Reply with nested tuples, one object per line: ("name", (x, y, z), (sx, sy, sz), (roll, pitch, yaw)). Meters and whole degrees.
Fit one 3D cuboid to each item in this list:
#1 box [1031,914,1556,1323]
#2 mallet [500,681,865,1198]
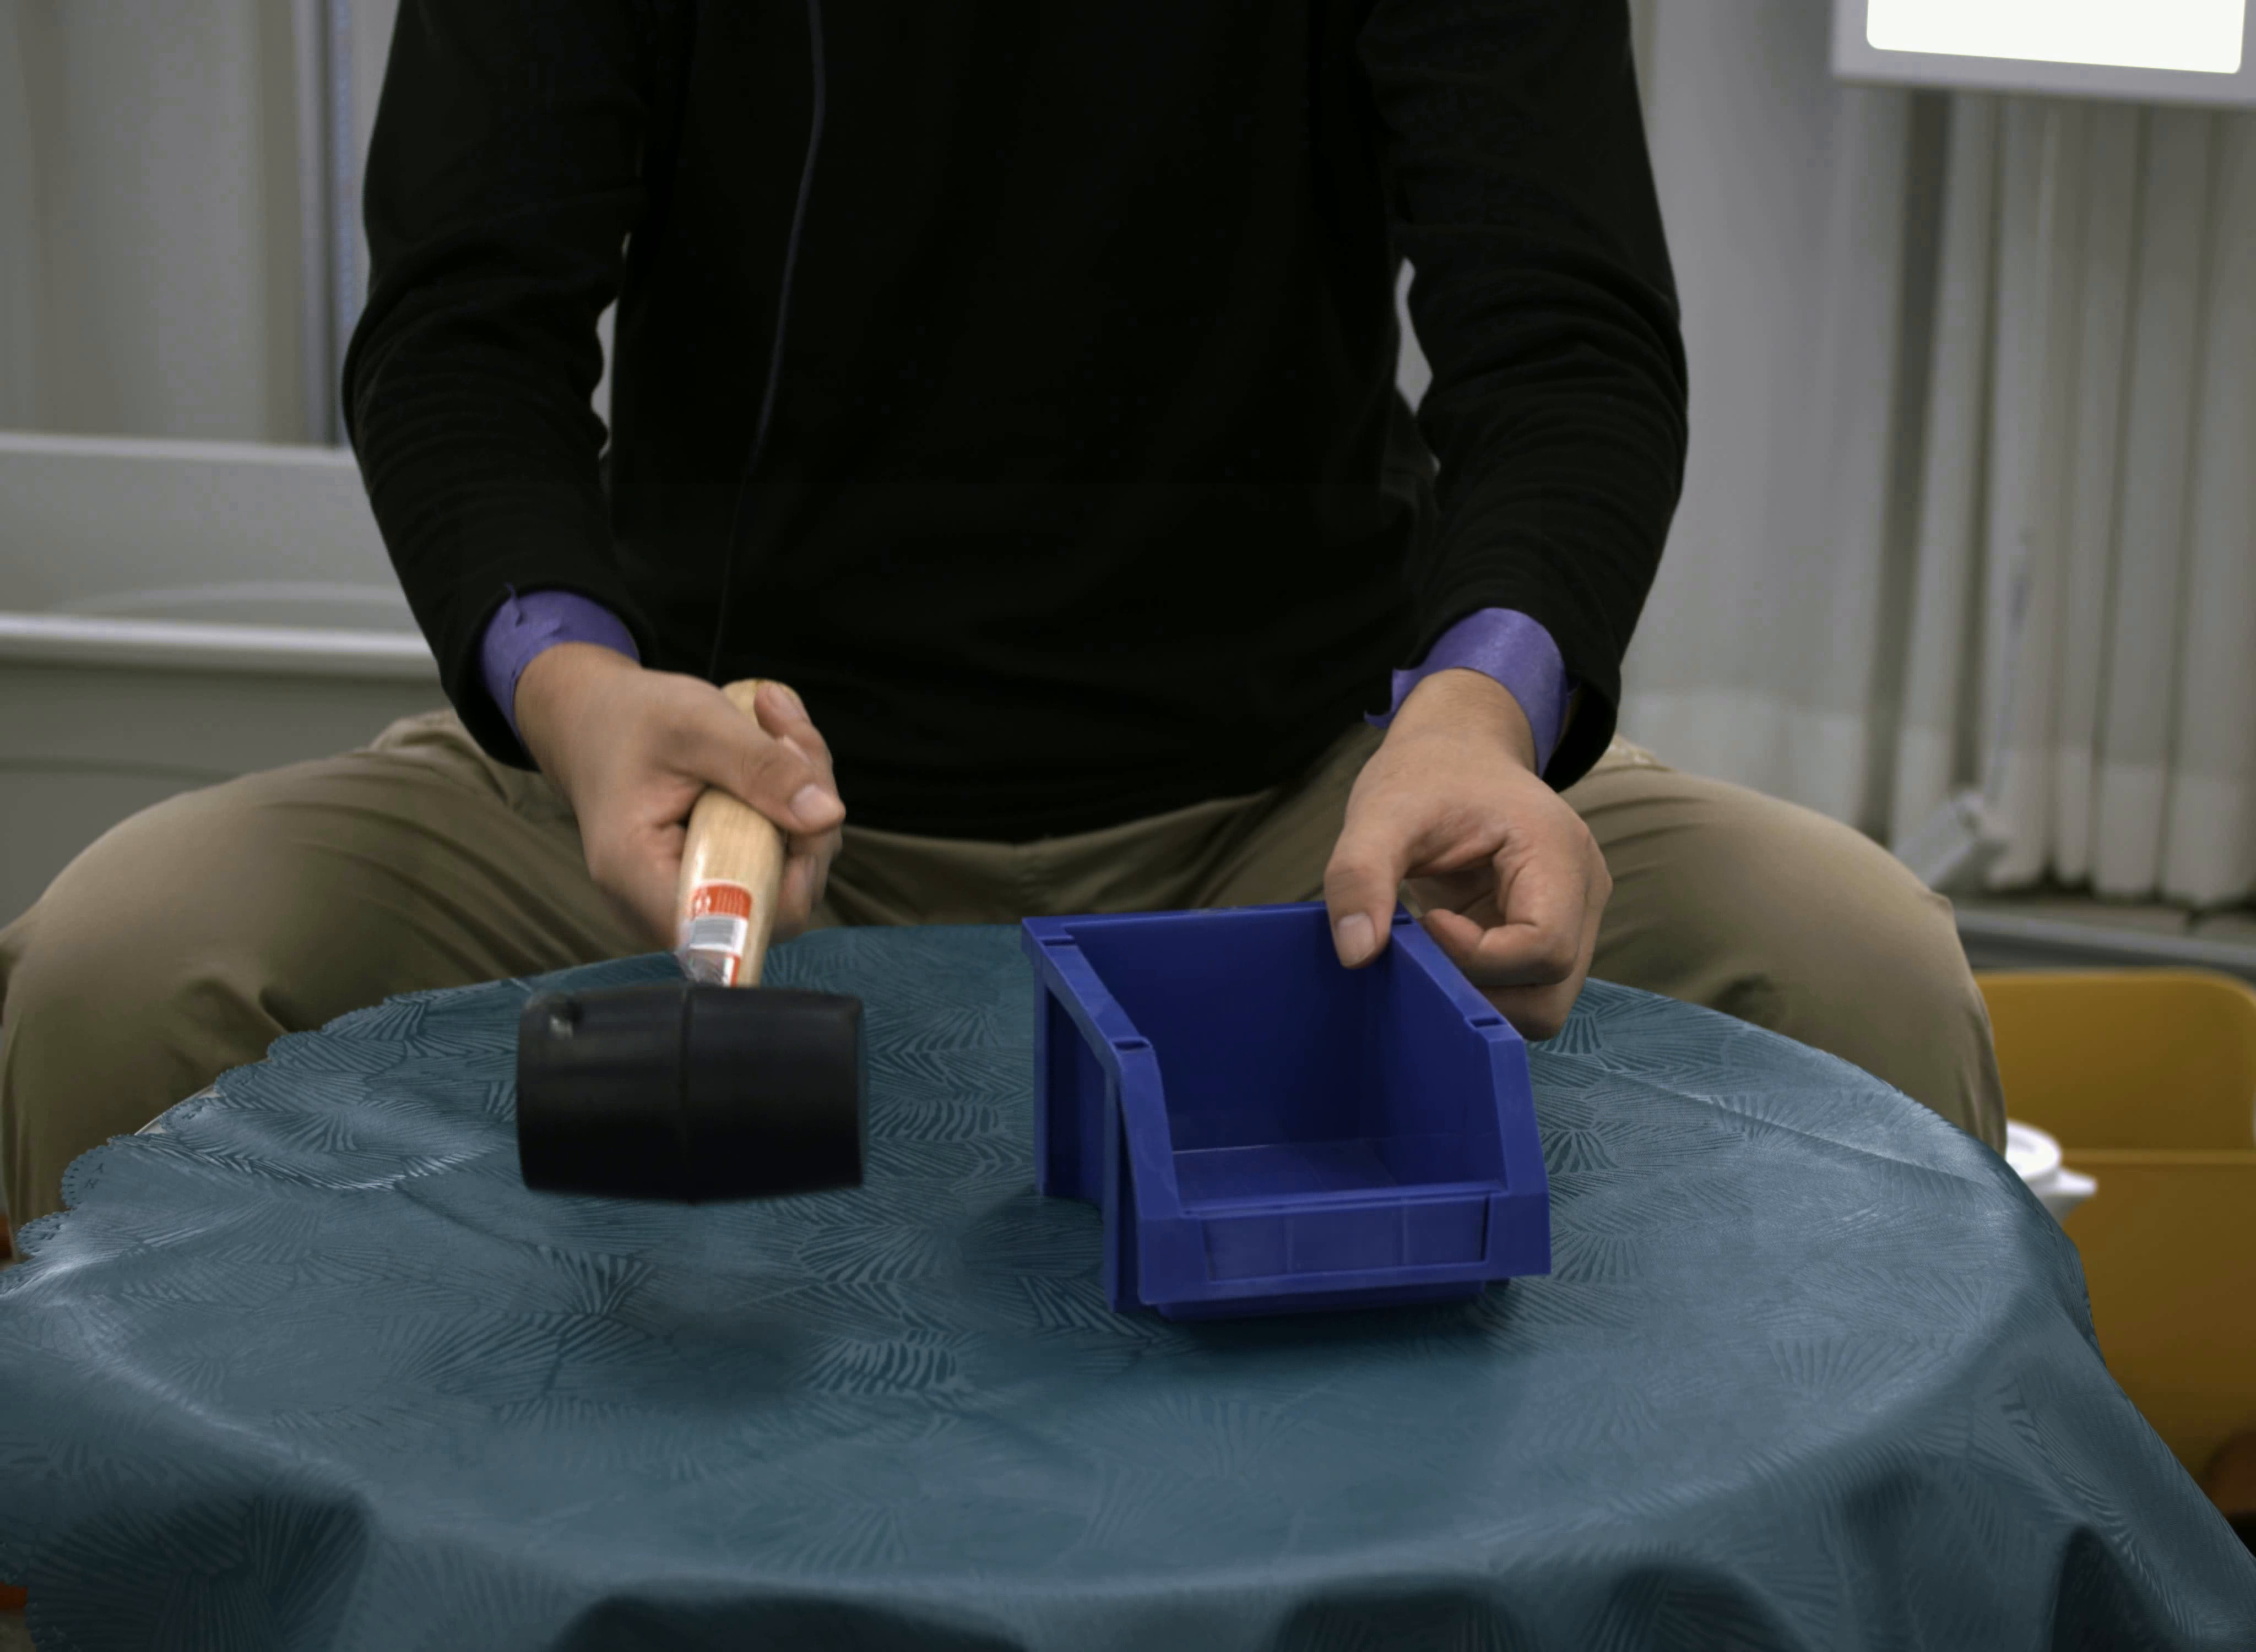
("box", (0.048, 0.088, 1.558), (0.124, 0.082, 0.178), (-3, 13, -11))
("mallet", (-0.124, 0.017, 1.621), (0.101, 0.065, 0.336), (4, 25, -1))
